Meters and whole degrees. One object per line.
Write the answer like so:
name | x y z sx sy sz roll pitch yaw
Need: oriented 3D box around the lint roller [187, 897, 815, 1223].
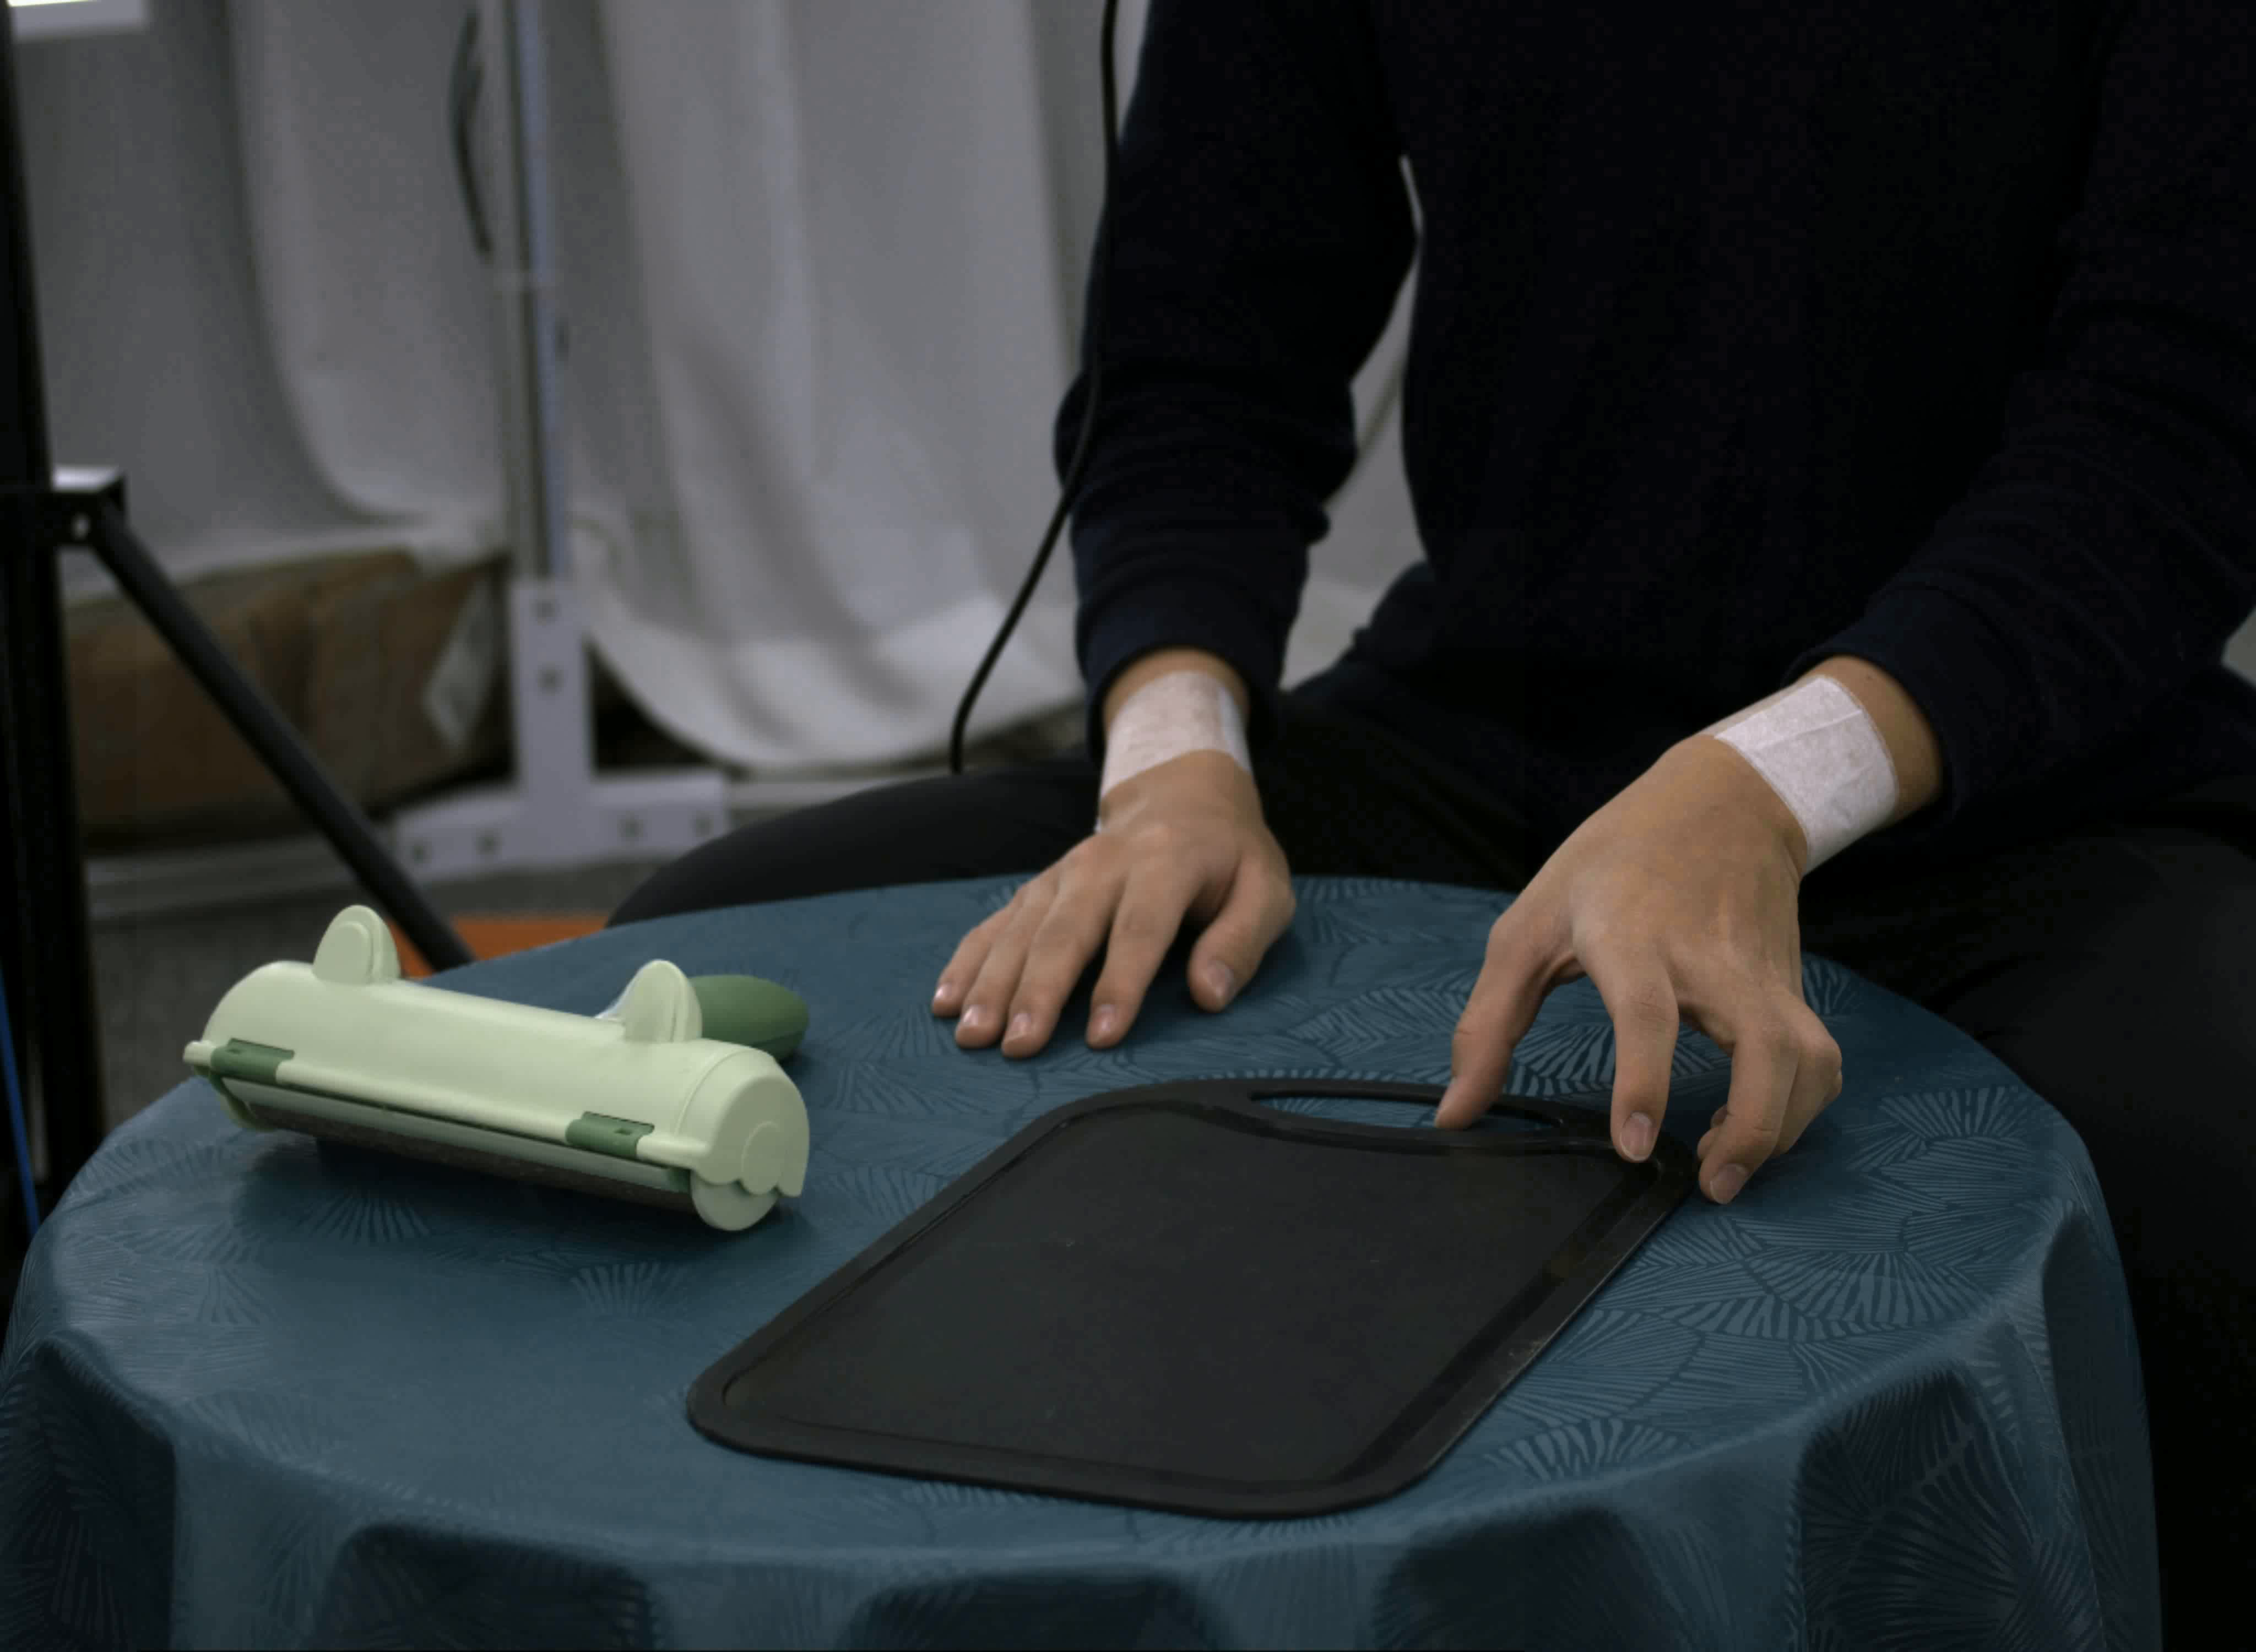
lint roller | -0.157 0.052 1.627 0.202 0.082 0.180 9 26 33

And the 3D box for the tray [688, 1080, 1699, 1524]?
tray | 0.028 0.123 1.488 0.214 0.010 0.320 5 18 25
